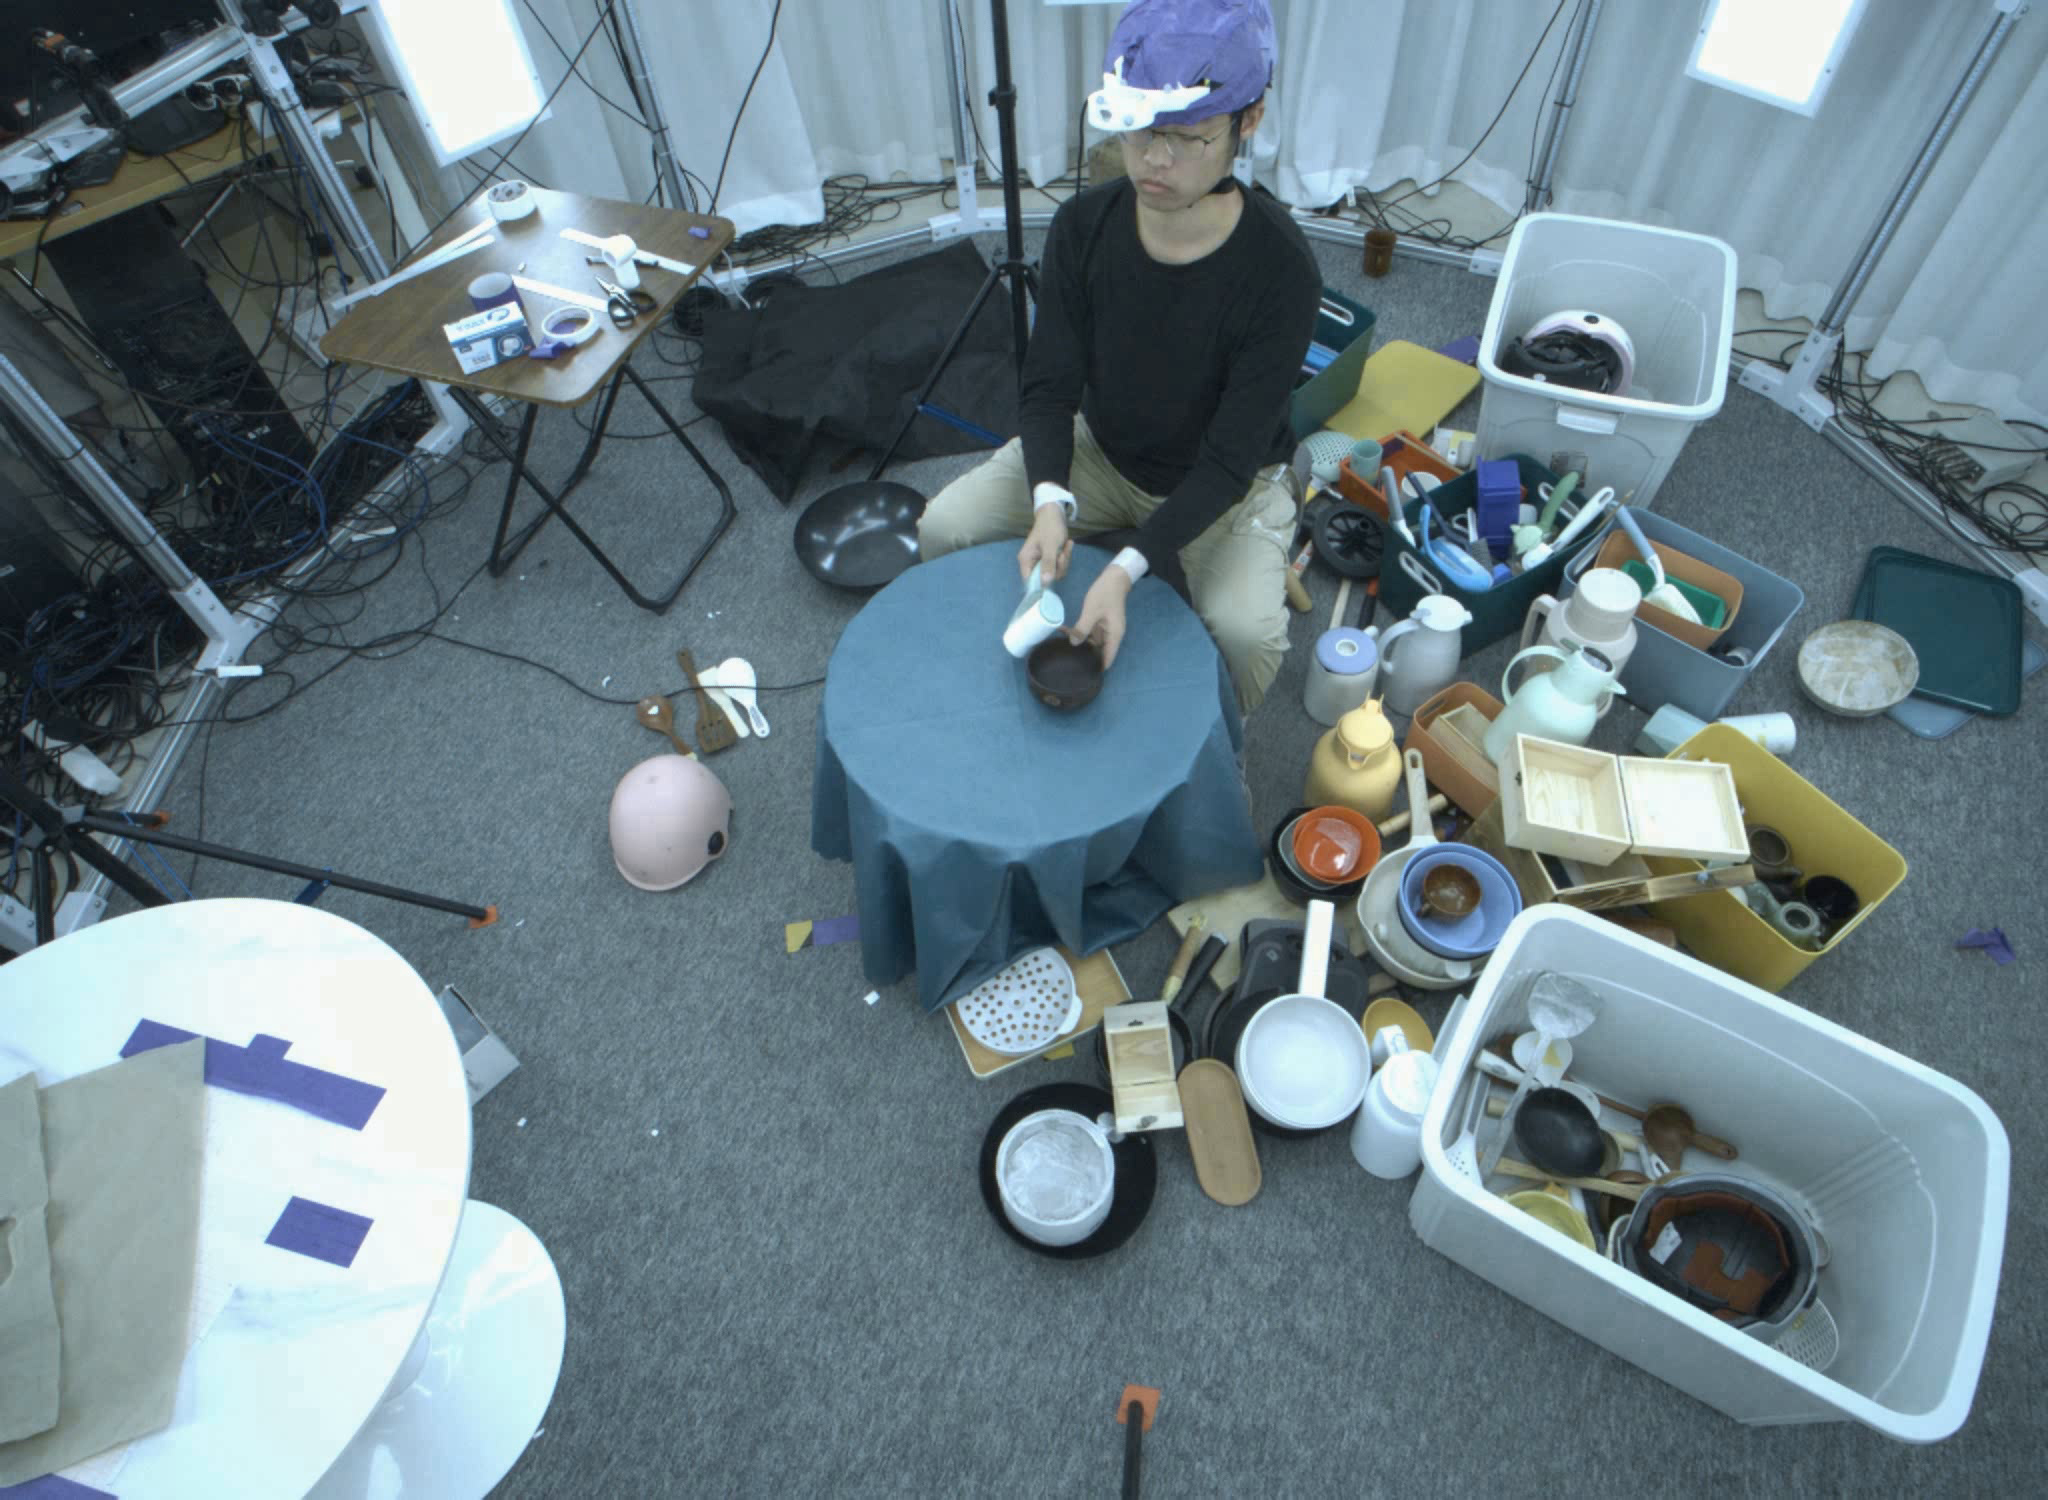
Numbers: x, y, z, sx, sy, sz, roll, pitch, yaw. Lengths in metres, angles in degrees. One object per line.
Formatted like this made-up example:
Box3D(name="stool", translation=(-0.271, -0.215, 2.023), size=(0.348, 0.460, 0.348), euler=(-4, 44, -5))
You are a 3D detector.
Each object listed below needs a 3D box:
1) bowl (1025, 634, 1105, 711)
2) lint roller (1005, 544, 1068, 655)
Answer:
Box3D(name="bowl", translation=(0.060, -0.106, 1.816), size=(0.118, 0.070, 0.117), euler=(0, 53, 2))
Box3D(name="lint roller", translation=(0.029, -0.244, 1.849), size=(0.049, 0.115, 0.196), euler=(25, 56, -20))
